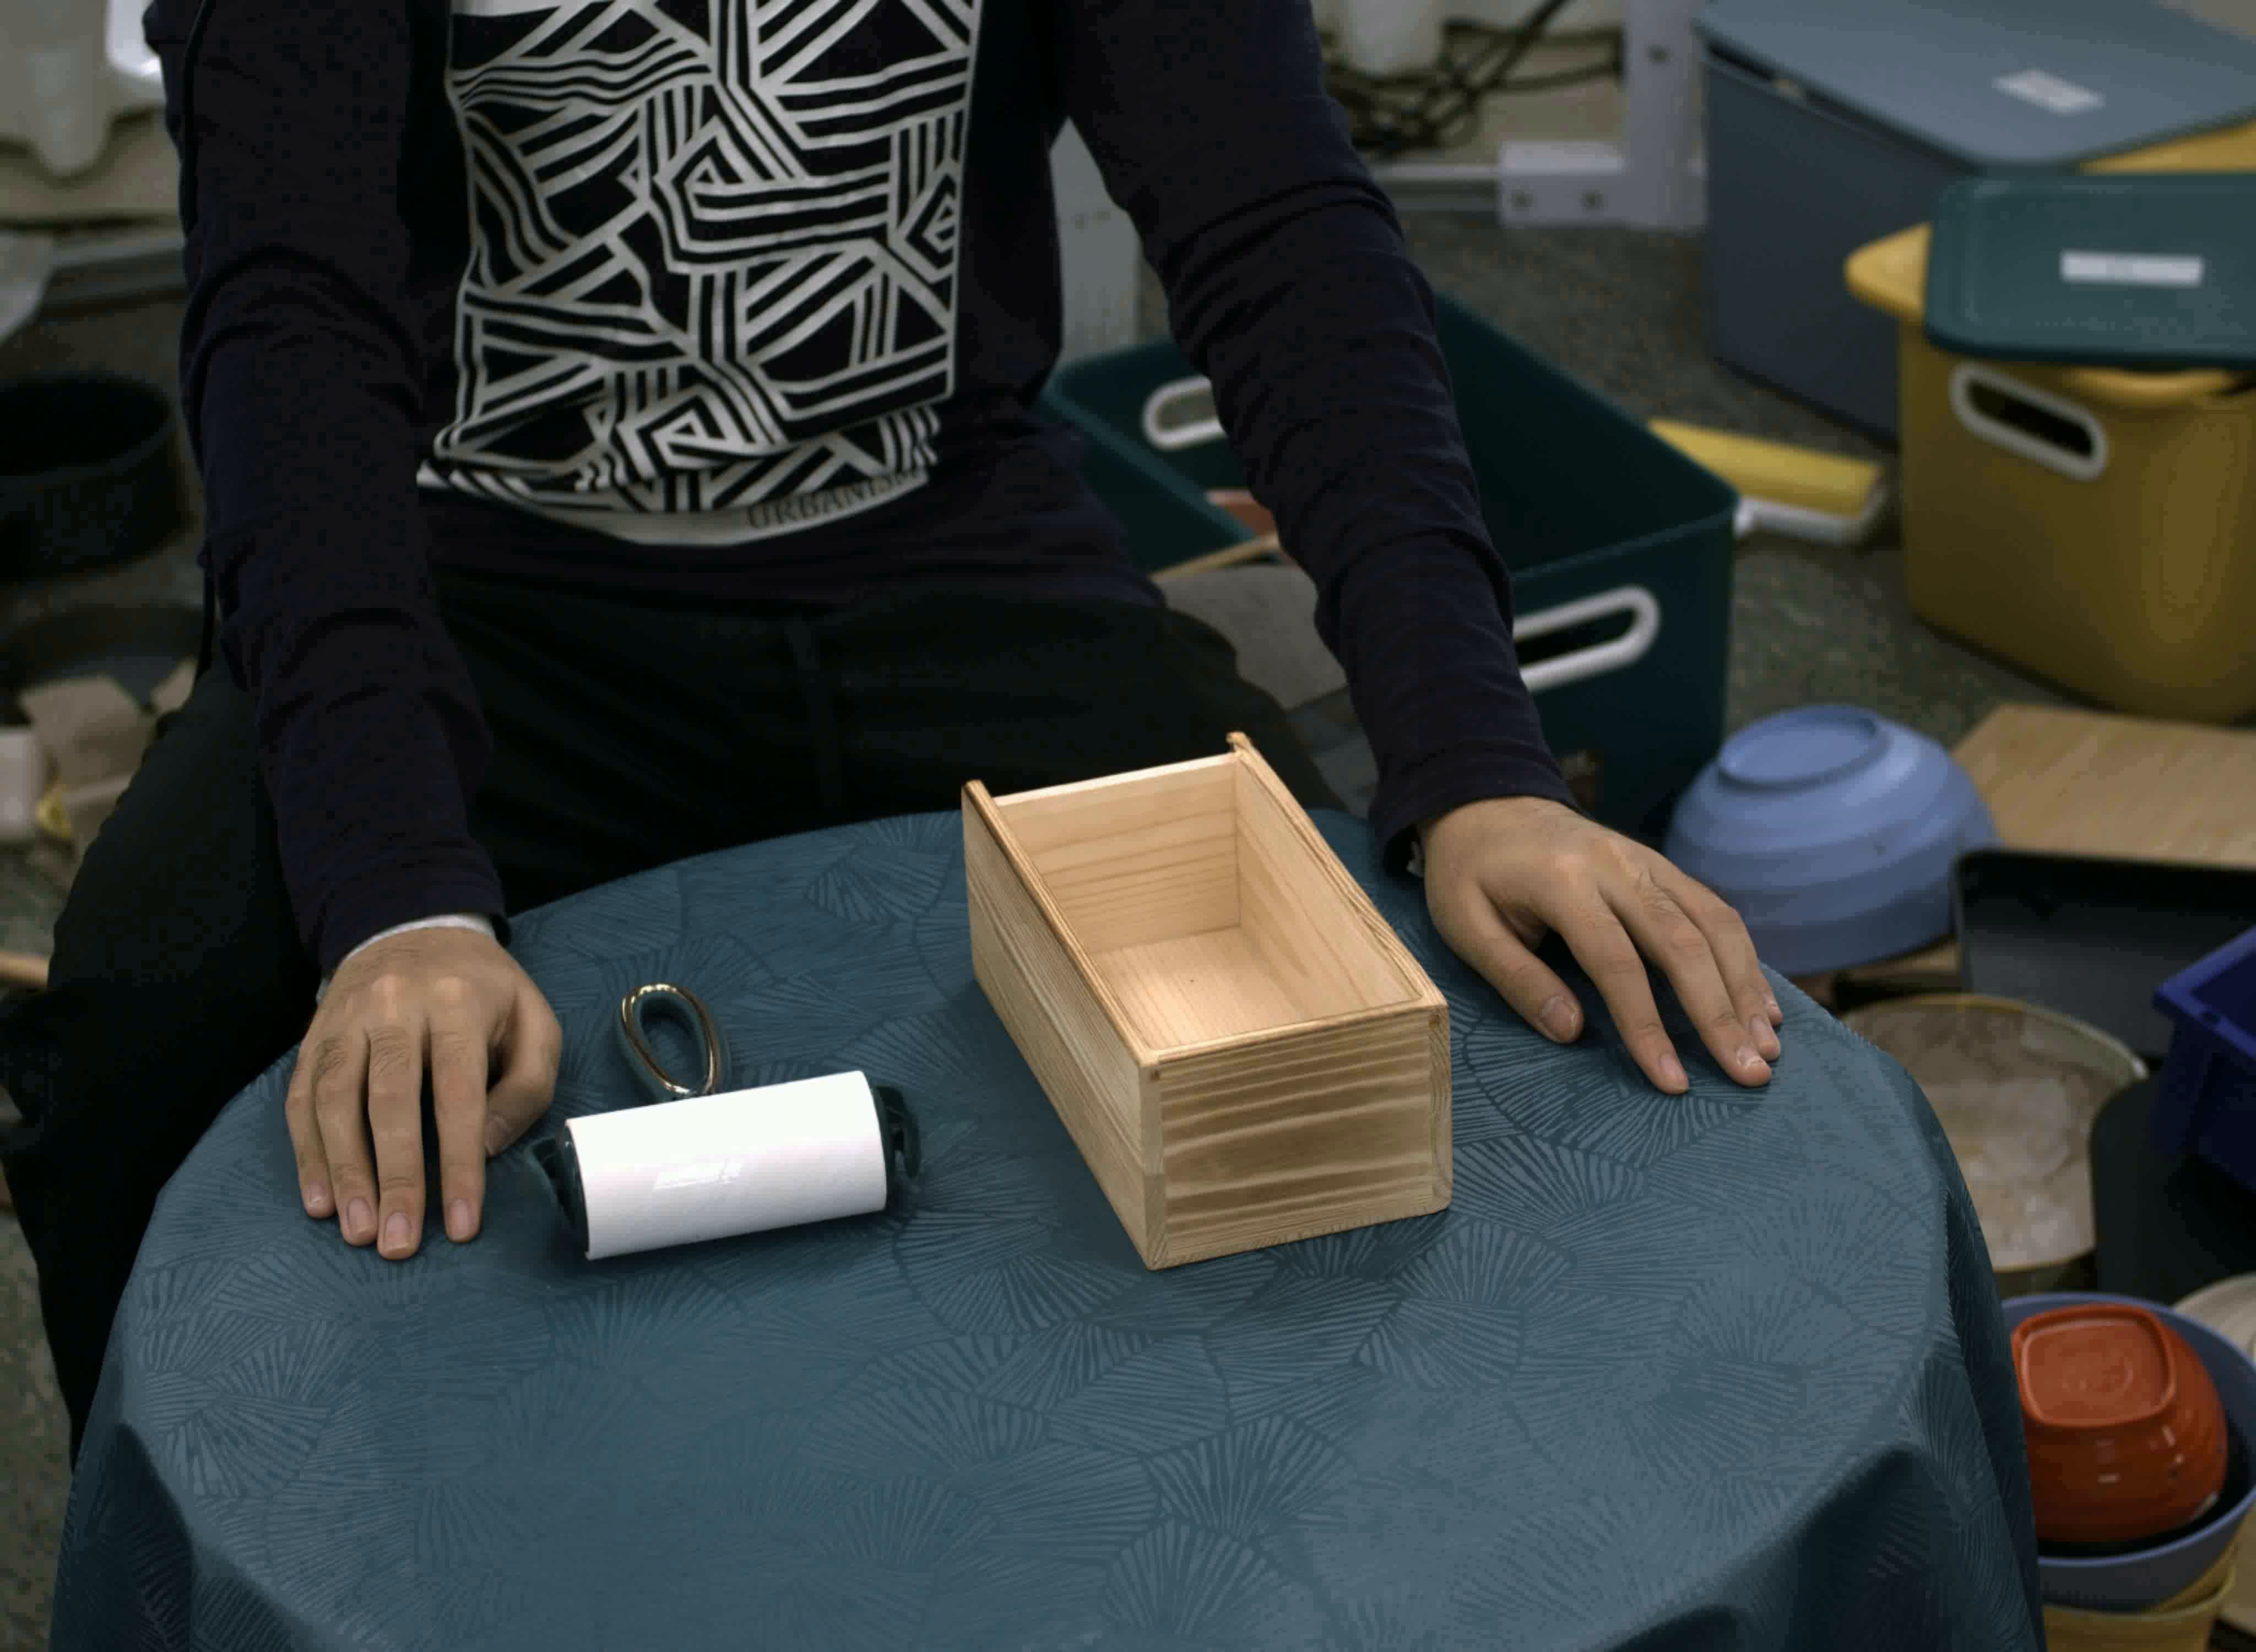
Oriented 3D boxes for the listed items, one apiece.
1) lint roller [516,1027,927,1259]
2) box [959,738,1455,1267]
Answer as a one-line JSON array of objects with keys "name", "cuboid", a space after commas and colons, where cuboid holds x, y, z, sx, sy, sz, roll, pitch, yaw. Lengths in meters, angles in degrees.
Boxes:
[{"name": "lint roller", "cuboid": [-0.149, 0.087, 1.903, 0.134, 0.048, 0.181, -9, 23, -12]}, {"name": "box", "cuboid": [0.024, 0.056, 1.901, 0.107, 0.079, 0.213, -11, 27, -14]}]
